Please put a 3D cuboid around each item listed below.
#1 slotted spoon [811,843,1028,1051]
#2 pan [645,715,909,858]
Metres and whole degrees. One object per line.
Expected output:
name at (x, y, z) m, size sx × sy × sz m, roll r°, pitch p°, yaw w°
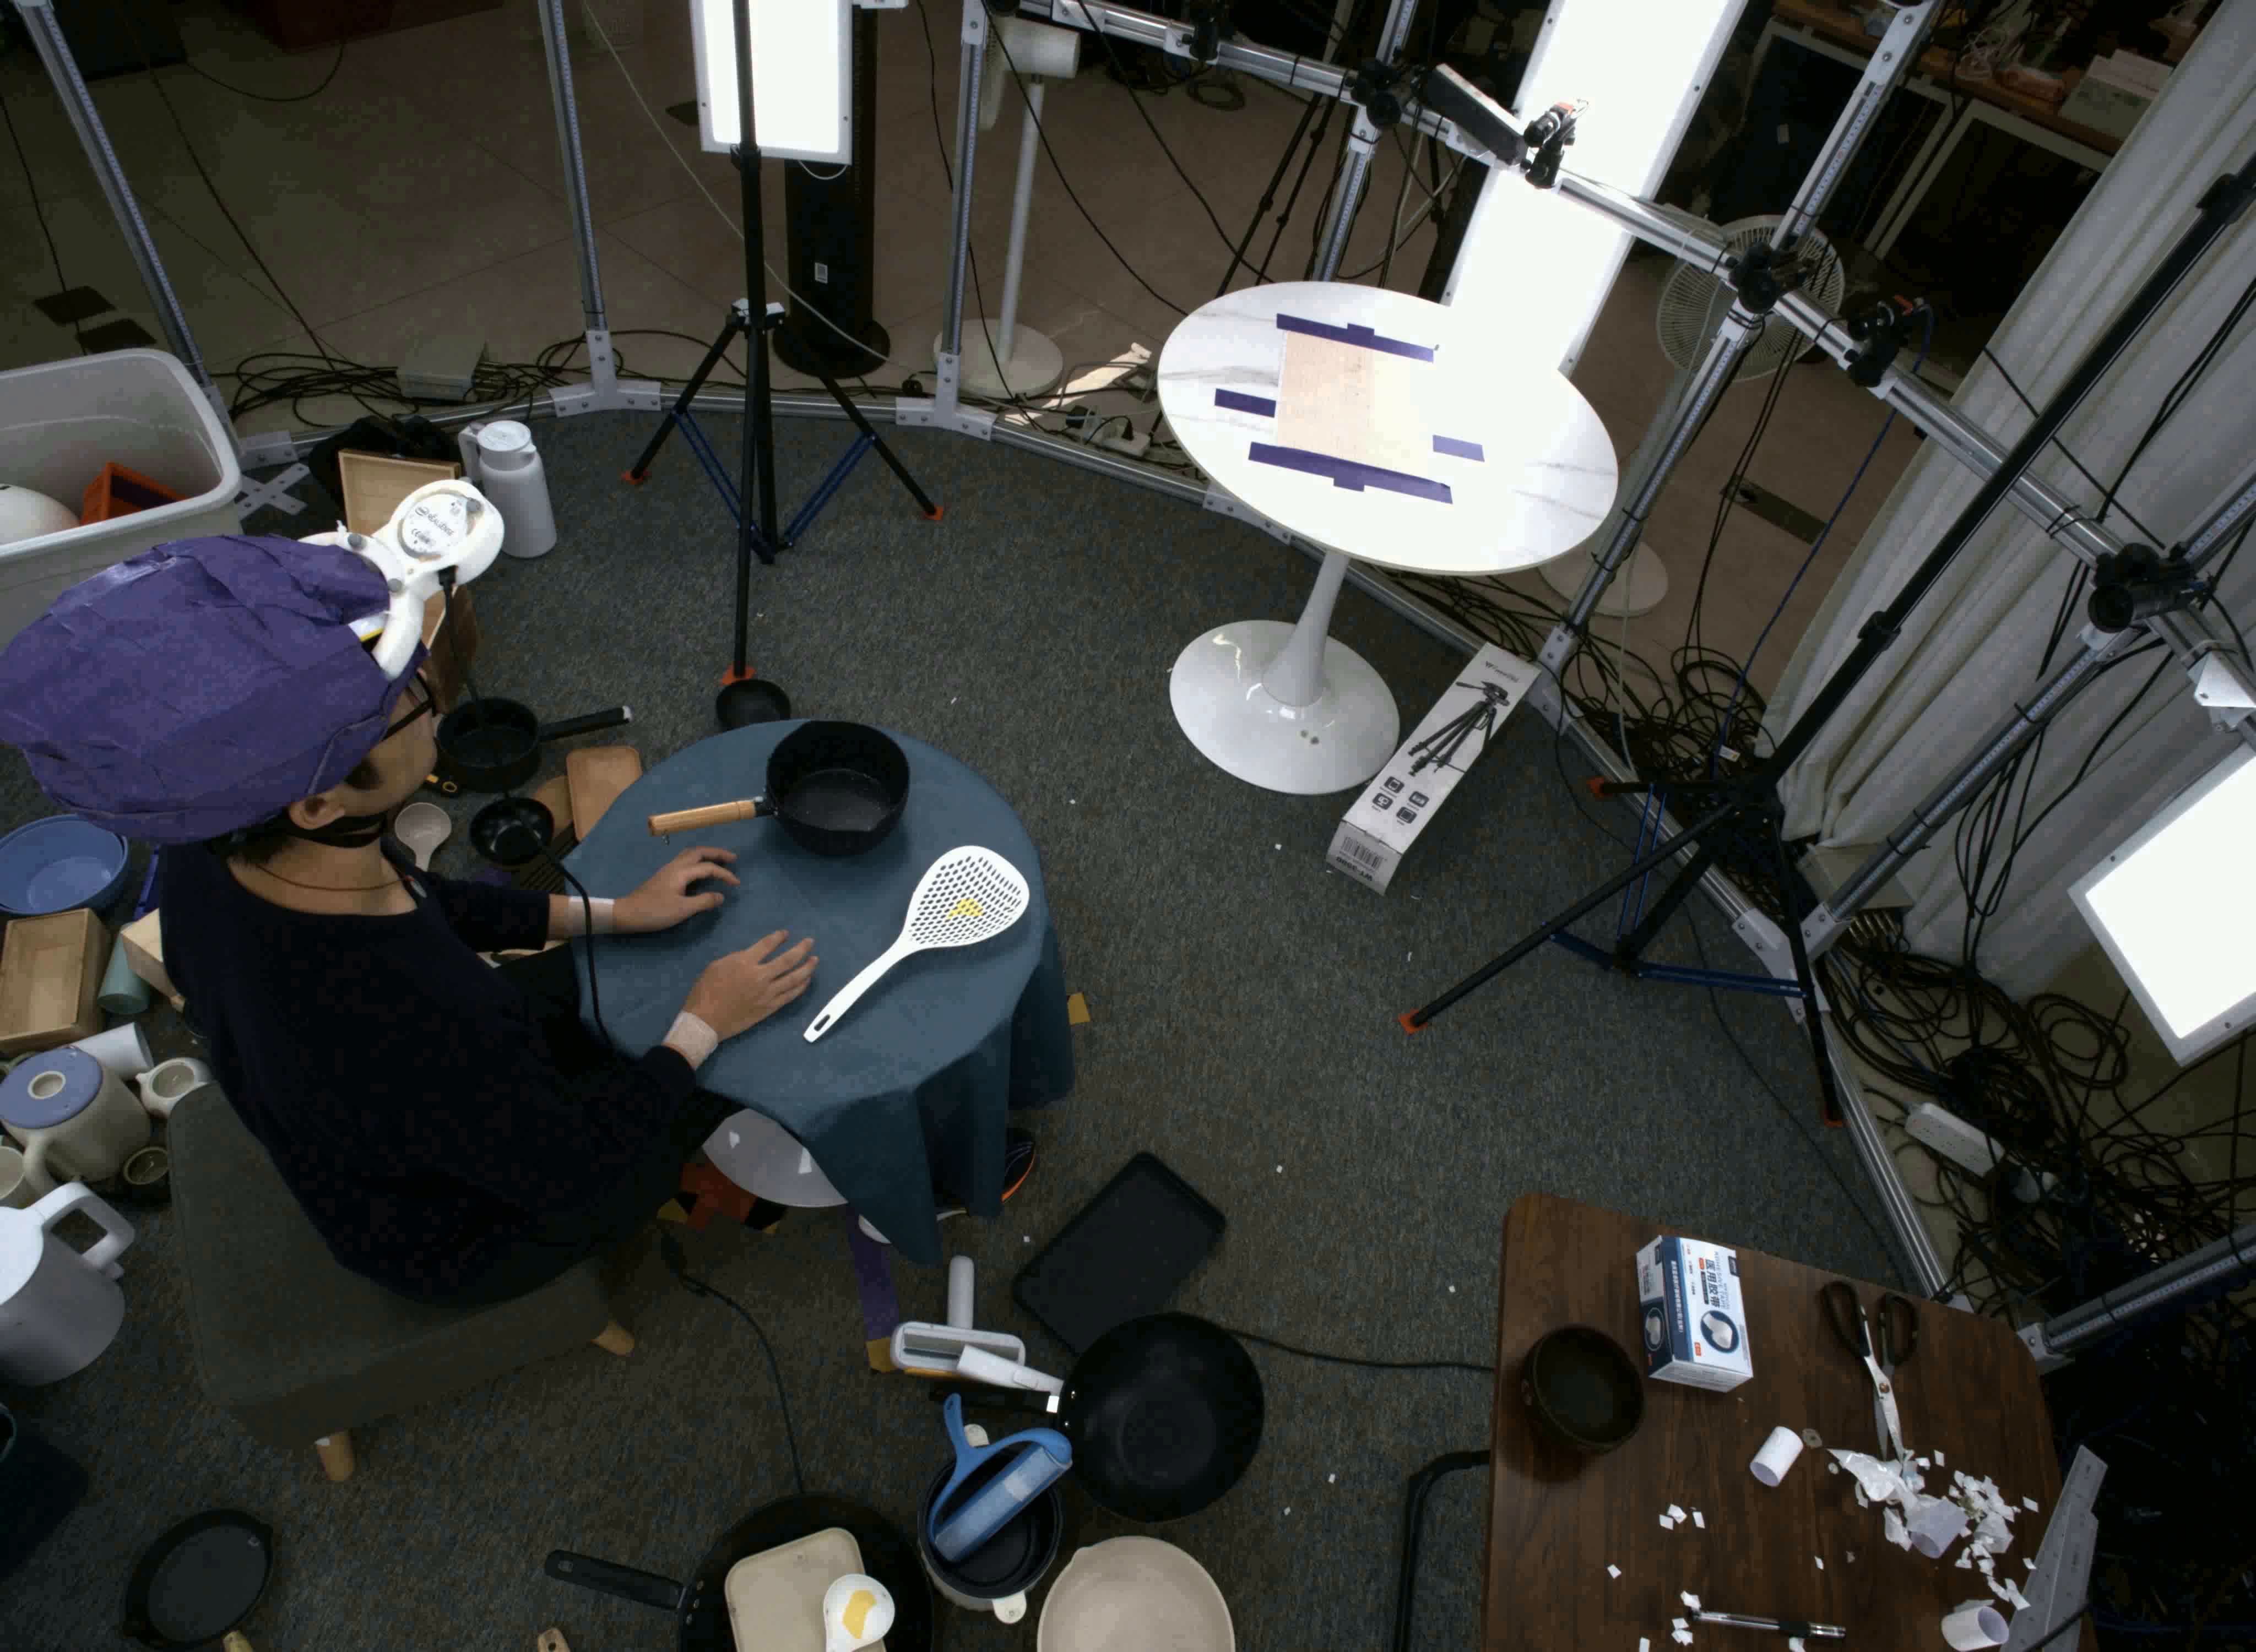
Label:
slotted spoon at (-0.267, 0.149, 1.616) m, size 0.134 × 0.051 × 0.348 m, roll 39°, pitch 52°, yaw 13°
pan at (-0.446, -0.026, 1.658) m, size 0.345 × 0.110 × 0.202 m, roll -21°, pitch 62°, yaw -29°
